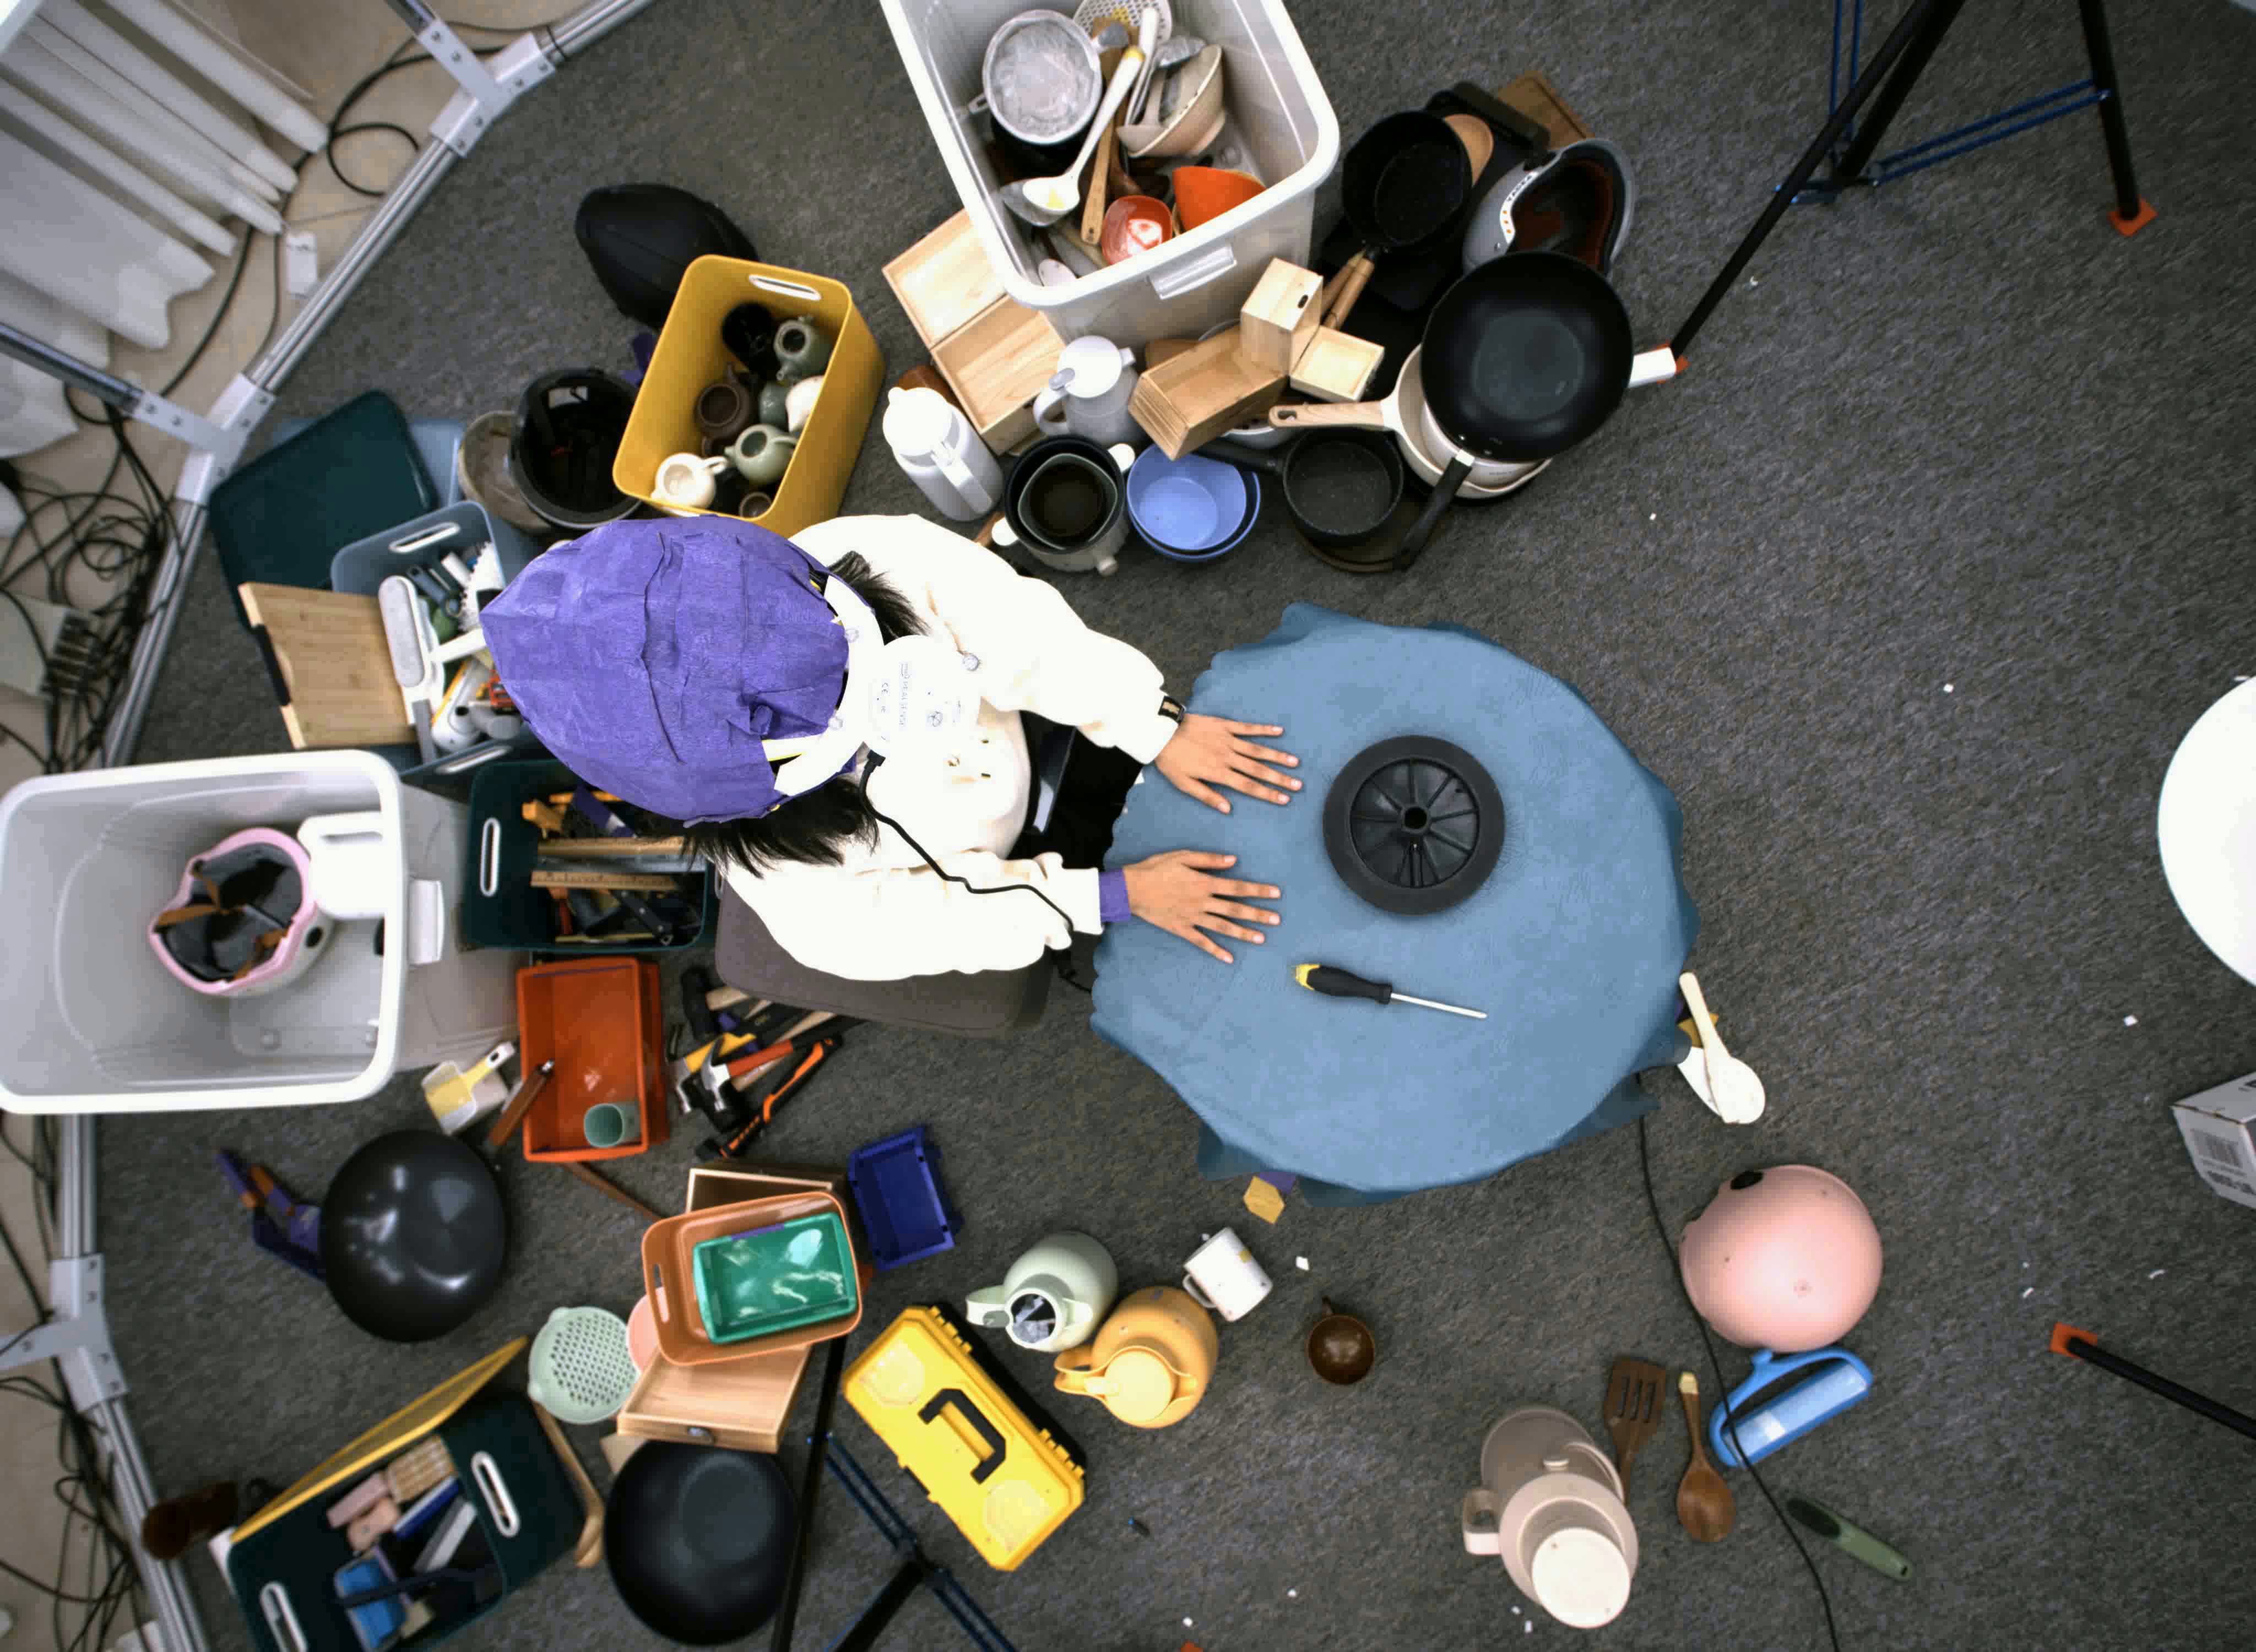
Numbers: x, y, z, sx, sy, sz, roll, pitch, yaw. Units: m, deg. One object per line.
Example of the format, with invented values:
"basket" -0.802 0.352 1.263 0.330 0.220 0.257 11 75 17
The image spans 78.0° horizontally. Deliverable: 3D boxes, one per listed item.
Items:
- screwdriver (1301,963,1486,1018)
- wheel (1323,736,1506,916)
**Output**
"screwdriver" 0.277 0.171 1.441 0.196 0.031 0.031 10 87 9
"wheel" 0.296 -0.003 1.422 0.188 0.079 0.189 -26 85 8
